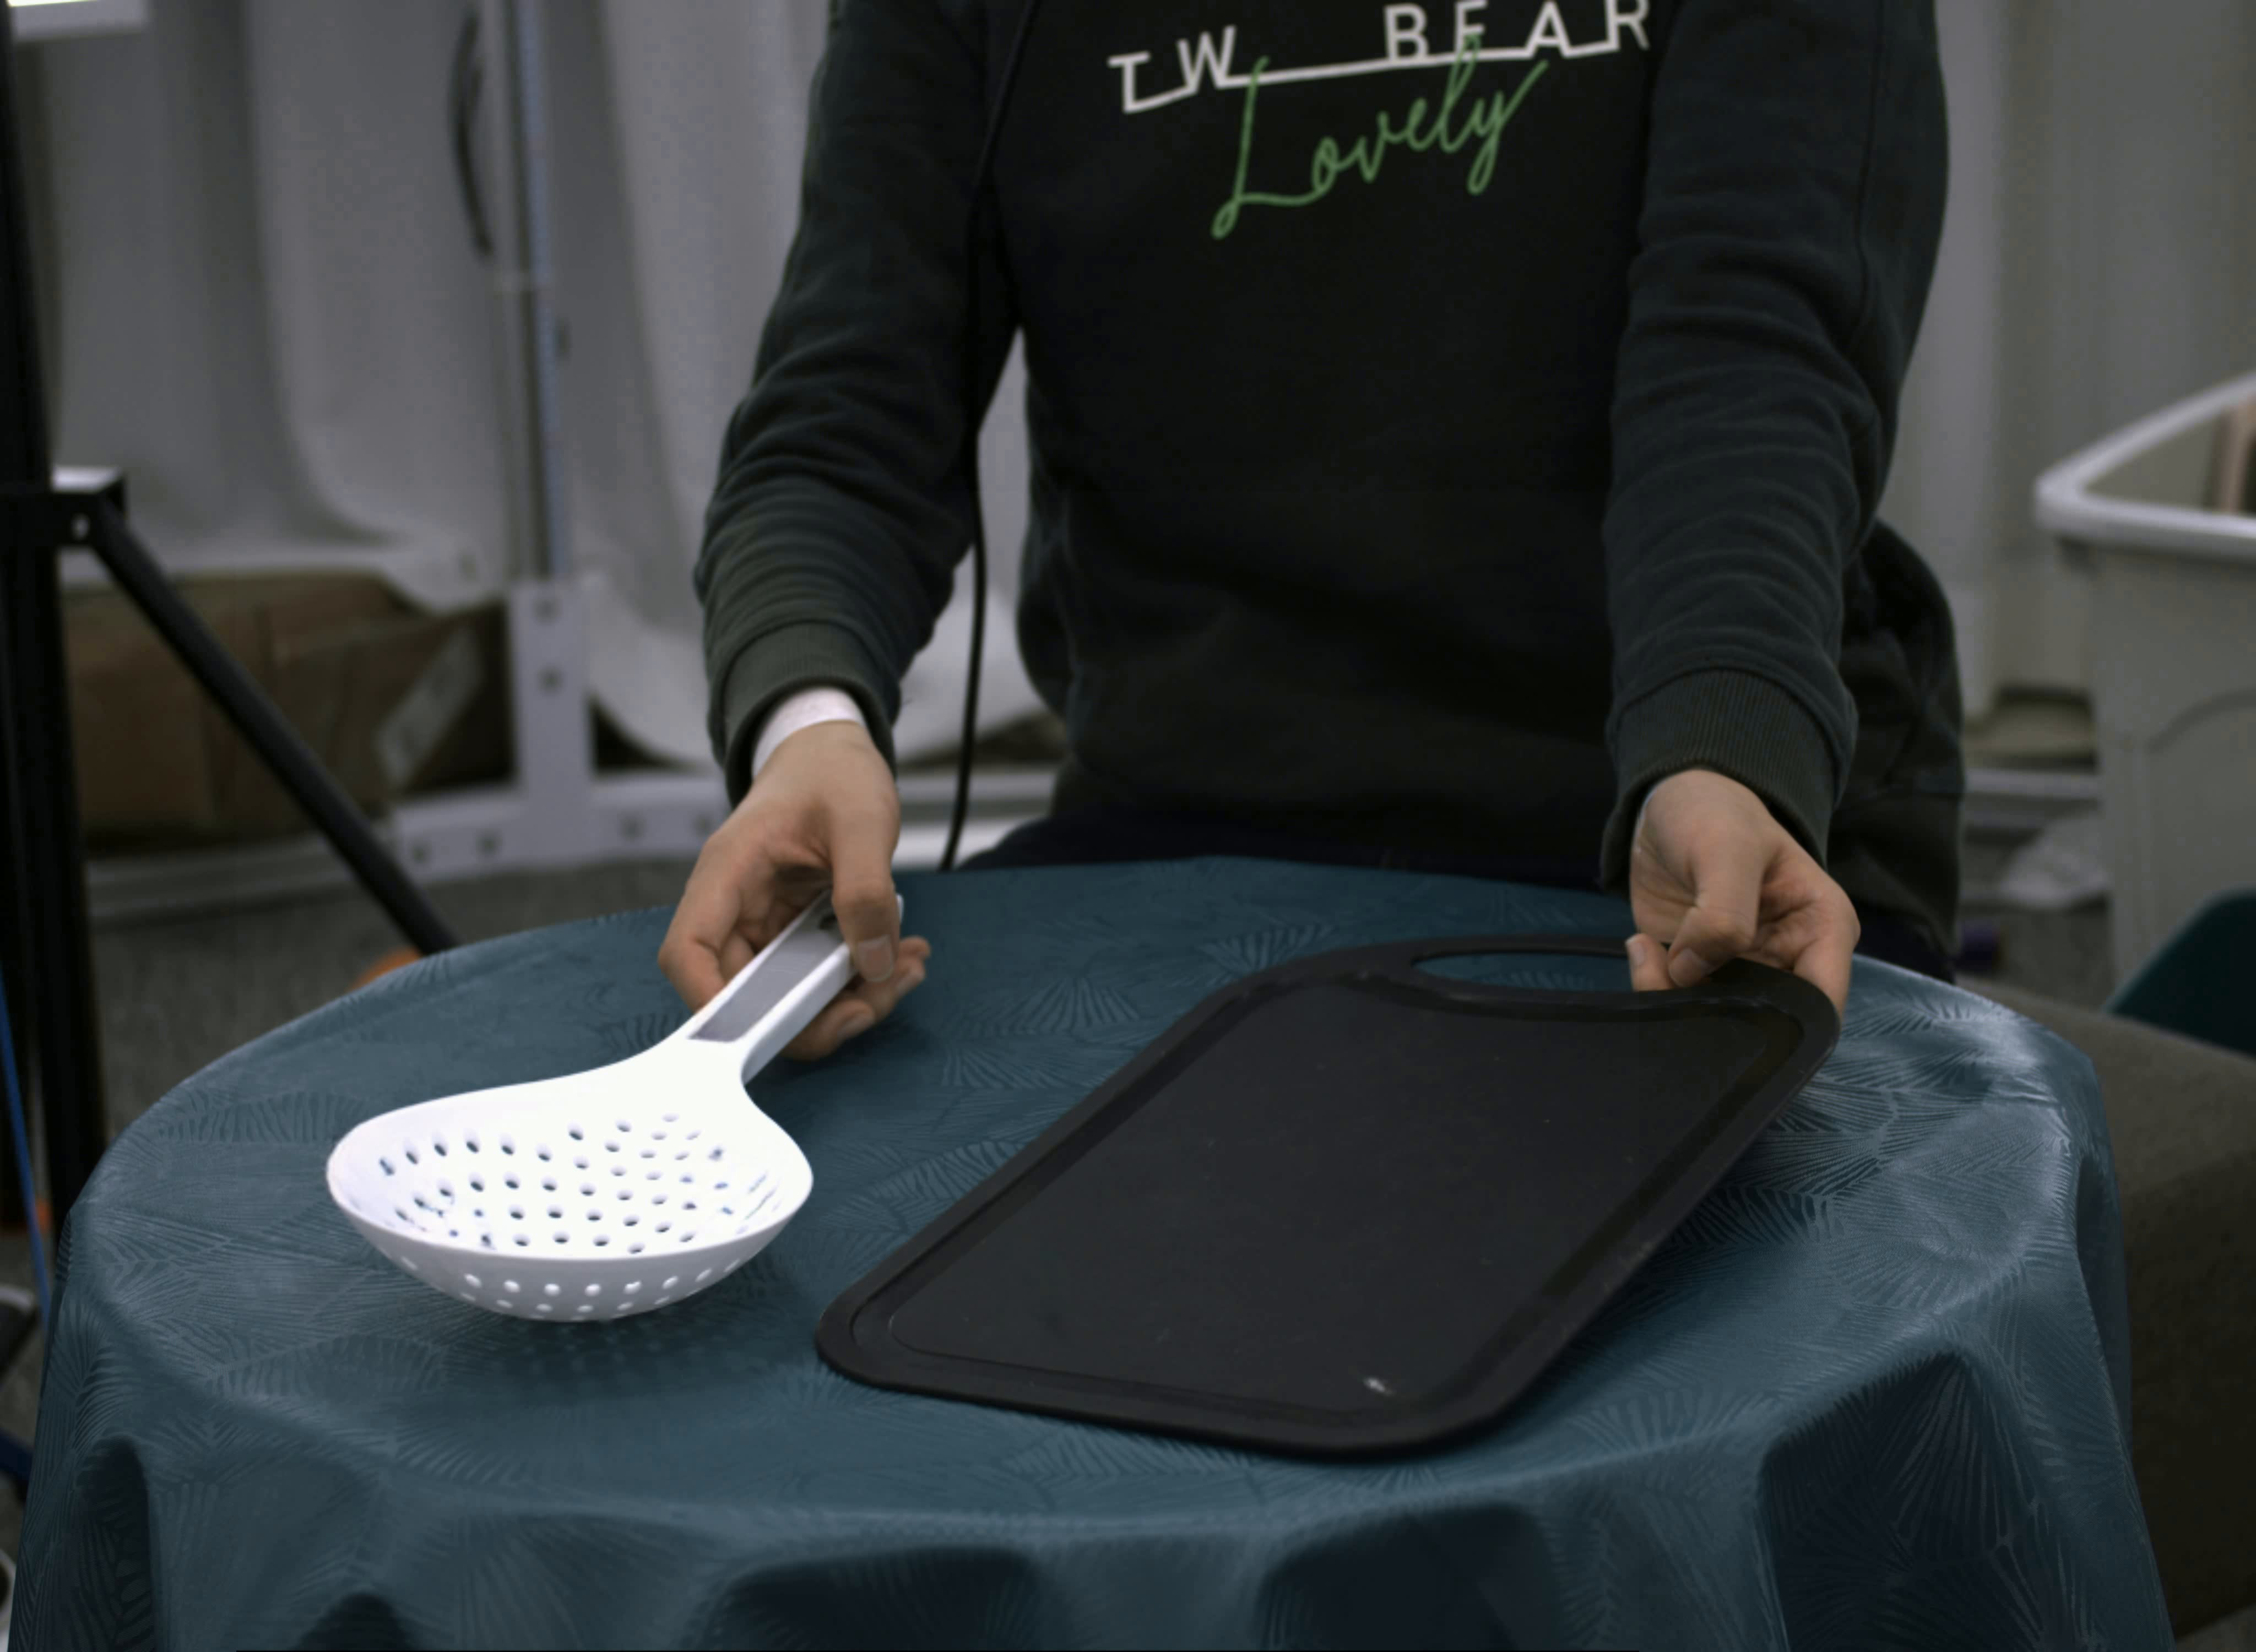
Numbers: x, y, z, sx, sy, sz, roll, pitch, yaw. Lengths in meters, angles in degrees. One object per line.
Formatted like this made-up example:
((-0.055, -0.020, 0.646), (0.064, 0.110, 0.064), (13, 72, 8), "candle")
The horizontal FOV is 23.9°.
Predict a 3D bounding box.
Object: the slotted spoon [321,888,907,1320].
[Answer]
((-0.129, 0.074, 1.583), (0.137, 0.046, 0.347), (7, 22, 14), "slotted spoon")

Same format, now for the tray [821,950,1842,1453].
((0.066, 0.096, 1.508), (0.215, 0.010, 0.320), (4, 23, 30), "tray")
